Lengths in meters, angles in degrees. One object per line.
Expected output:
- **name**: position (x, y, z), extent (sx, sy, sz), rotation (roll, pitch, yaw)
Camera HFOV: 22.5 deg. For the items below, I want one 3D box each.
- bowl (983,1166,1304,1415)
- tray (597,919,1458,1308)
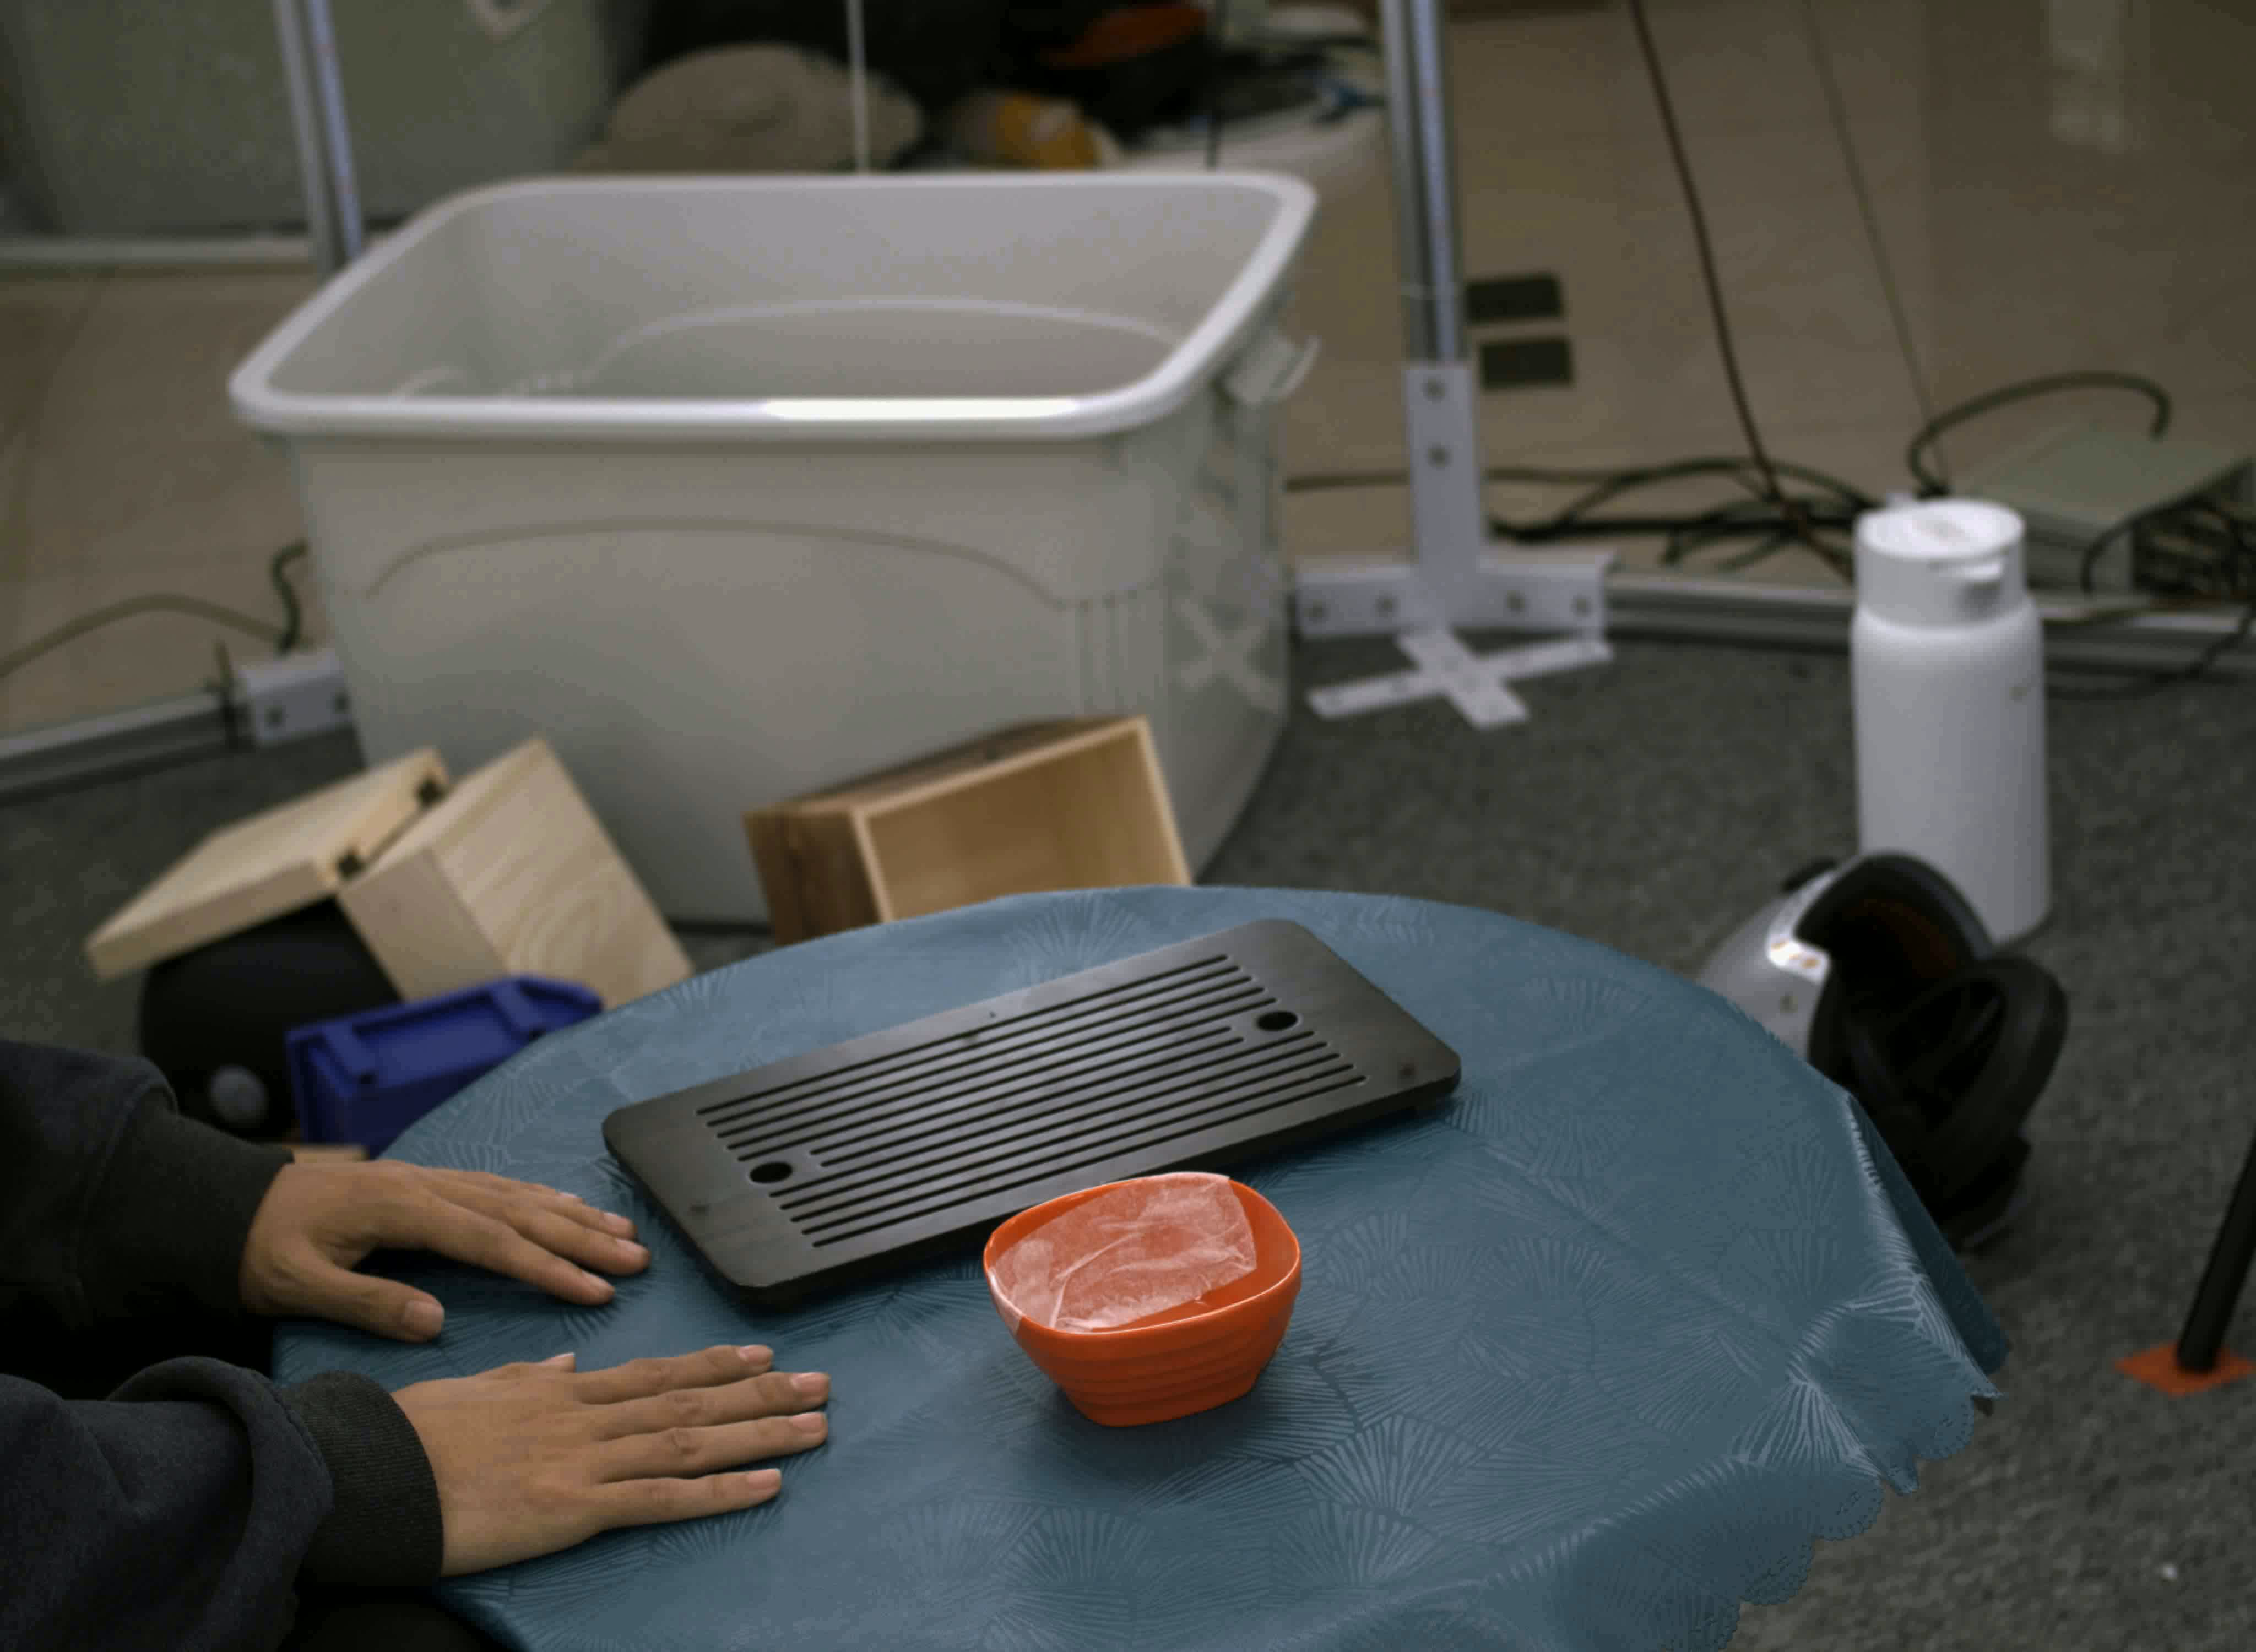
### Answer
- **bowl**: position (0.006, 0.169, 2.011), extent (0.119, 0.052, 0.117), rotation (-1, 25, 1)
- **tray**: position (-0.039, 0.110, 2.198), extent (0.304, 0.019, 0.168), rotation (-16, 27, -19)
